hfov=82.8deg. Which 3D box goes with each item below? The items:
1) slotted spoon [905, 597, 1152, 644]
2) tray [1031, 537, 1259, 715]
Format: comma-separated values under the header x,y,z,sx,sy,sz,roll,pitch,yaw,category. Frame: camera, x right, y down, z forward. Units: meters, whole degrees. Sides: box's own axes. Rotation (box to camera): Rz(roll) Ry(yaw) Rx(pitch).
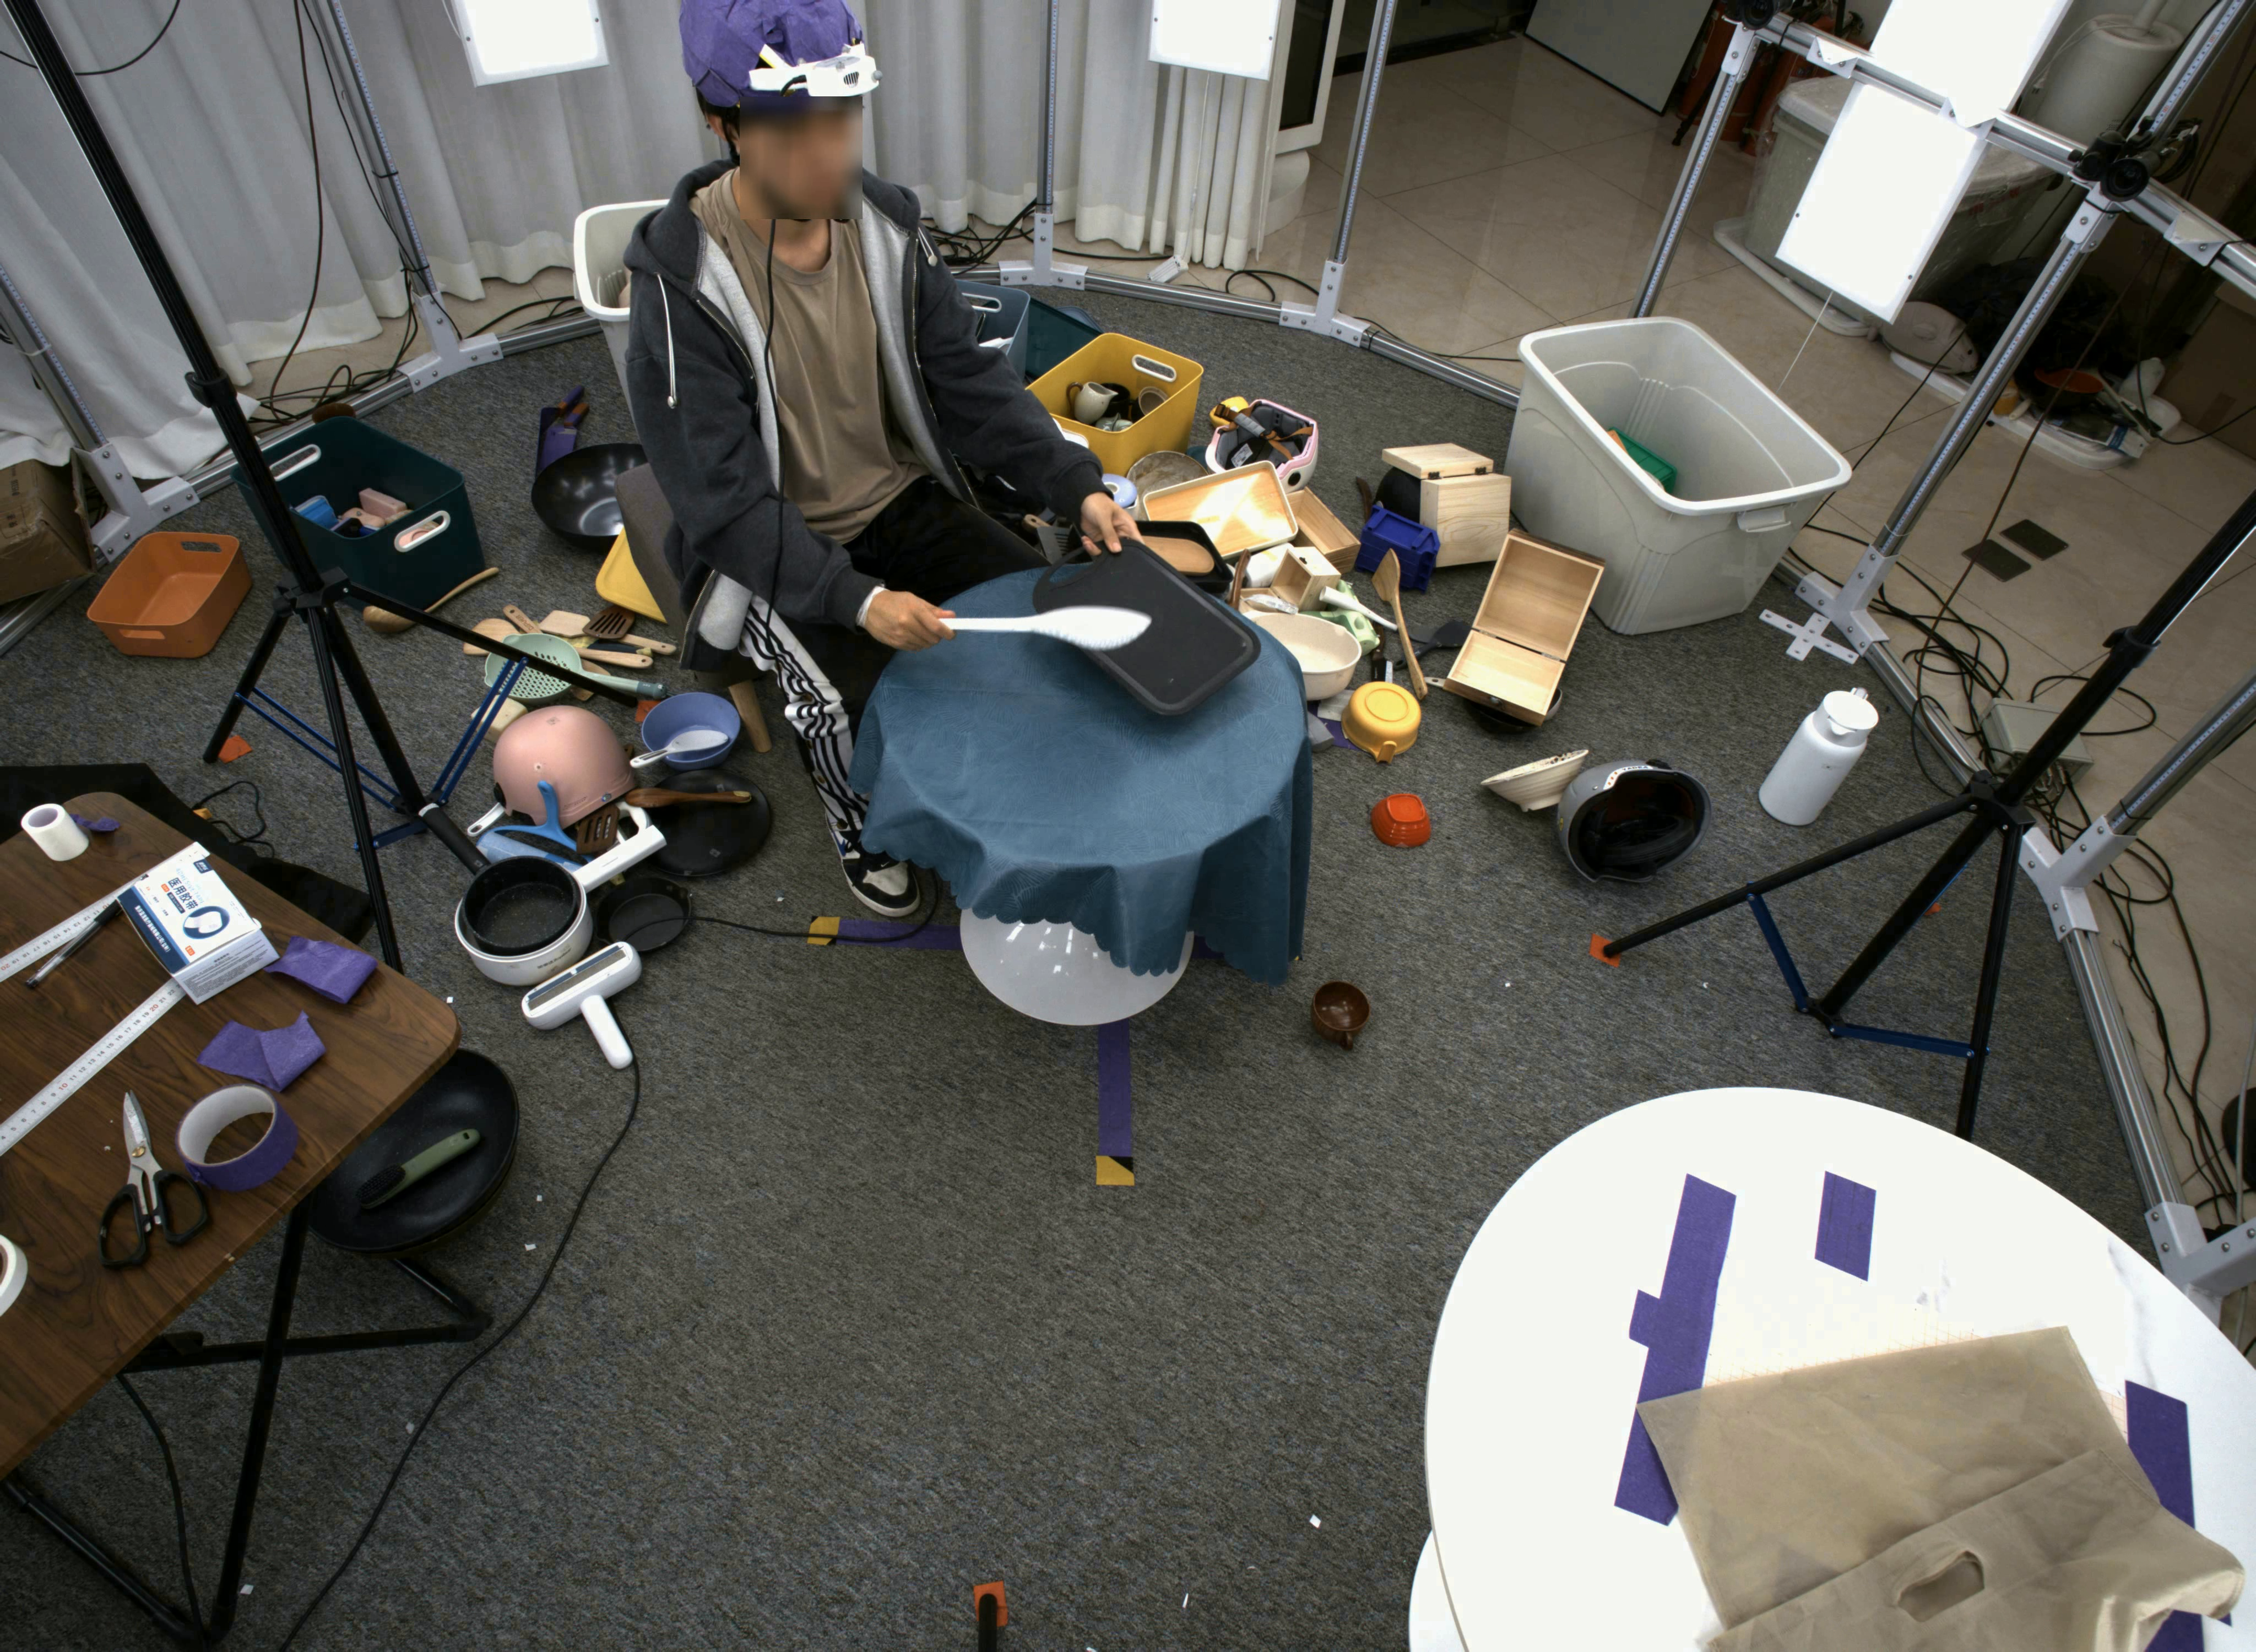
x,y,z,sx,sy,sz,roll,pitch,yaw,category
-0.139,-0.276,1.729,0.351,0.135,0.046,6,85,20,slotted spoon
0.017,-0.297,1.836,0.213,0.009,0.330,-37,66,-24,tray
